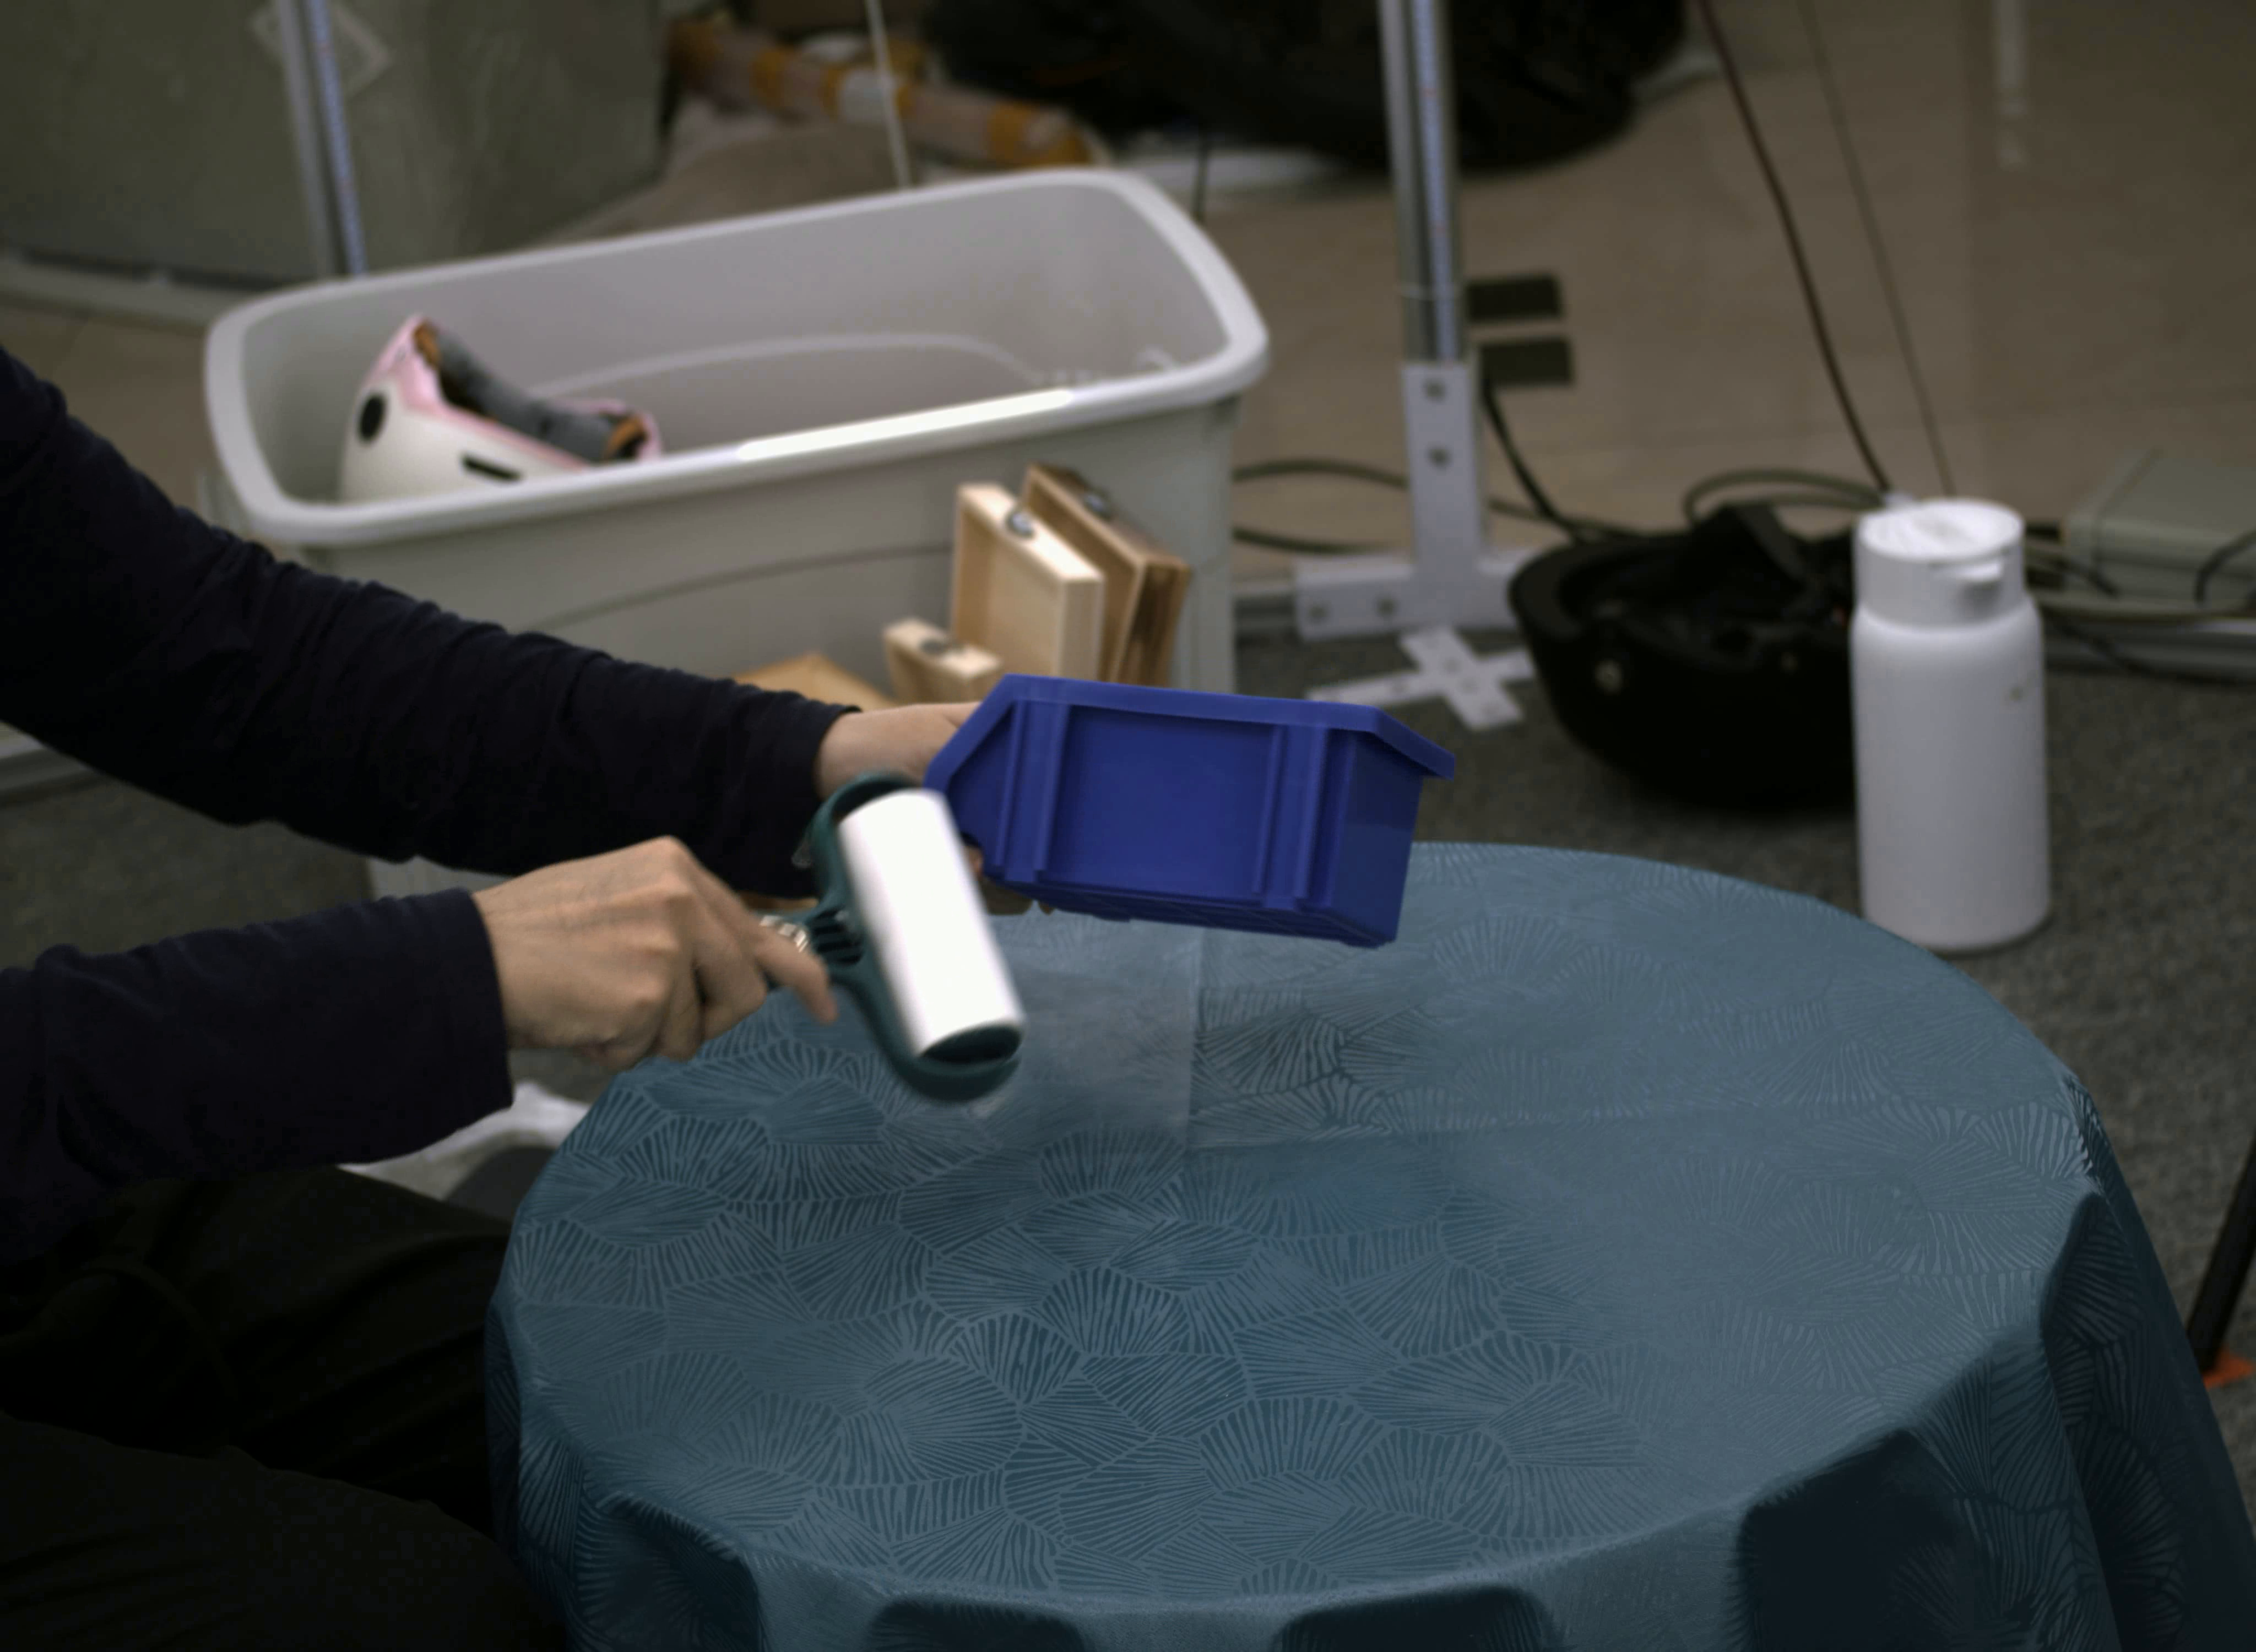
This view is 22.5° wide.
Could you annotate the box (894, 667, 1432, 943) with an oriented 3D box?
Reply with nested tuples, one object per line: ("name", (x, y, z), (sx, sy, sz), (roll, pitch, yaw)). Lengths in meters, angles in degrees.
("box", (0.009, -0.009, 2.195), (0.179, 0.082, 0.125), (8, -3, 22))

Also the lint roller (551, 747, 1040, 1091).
("lint roller", (-0.126, 0.040, 2.086), (0.180, 0.049, 0.133), (-5, 64, -36))
